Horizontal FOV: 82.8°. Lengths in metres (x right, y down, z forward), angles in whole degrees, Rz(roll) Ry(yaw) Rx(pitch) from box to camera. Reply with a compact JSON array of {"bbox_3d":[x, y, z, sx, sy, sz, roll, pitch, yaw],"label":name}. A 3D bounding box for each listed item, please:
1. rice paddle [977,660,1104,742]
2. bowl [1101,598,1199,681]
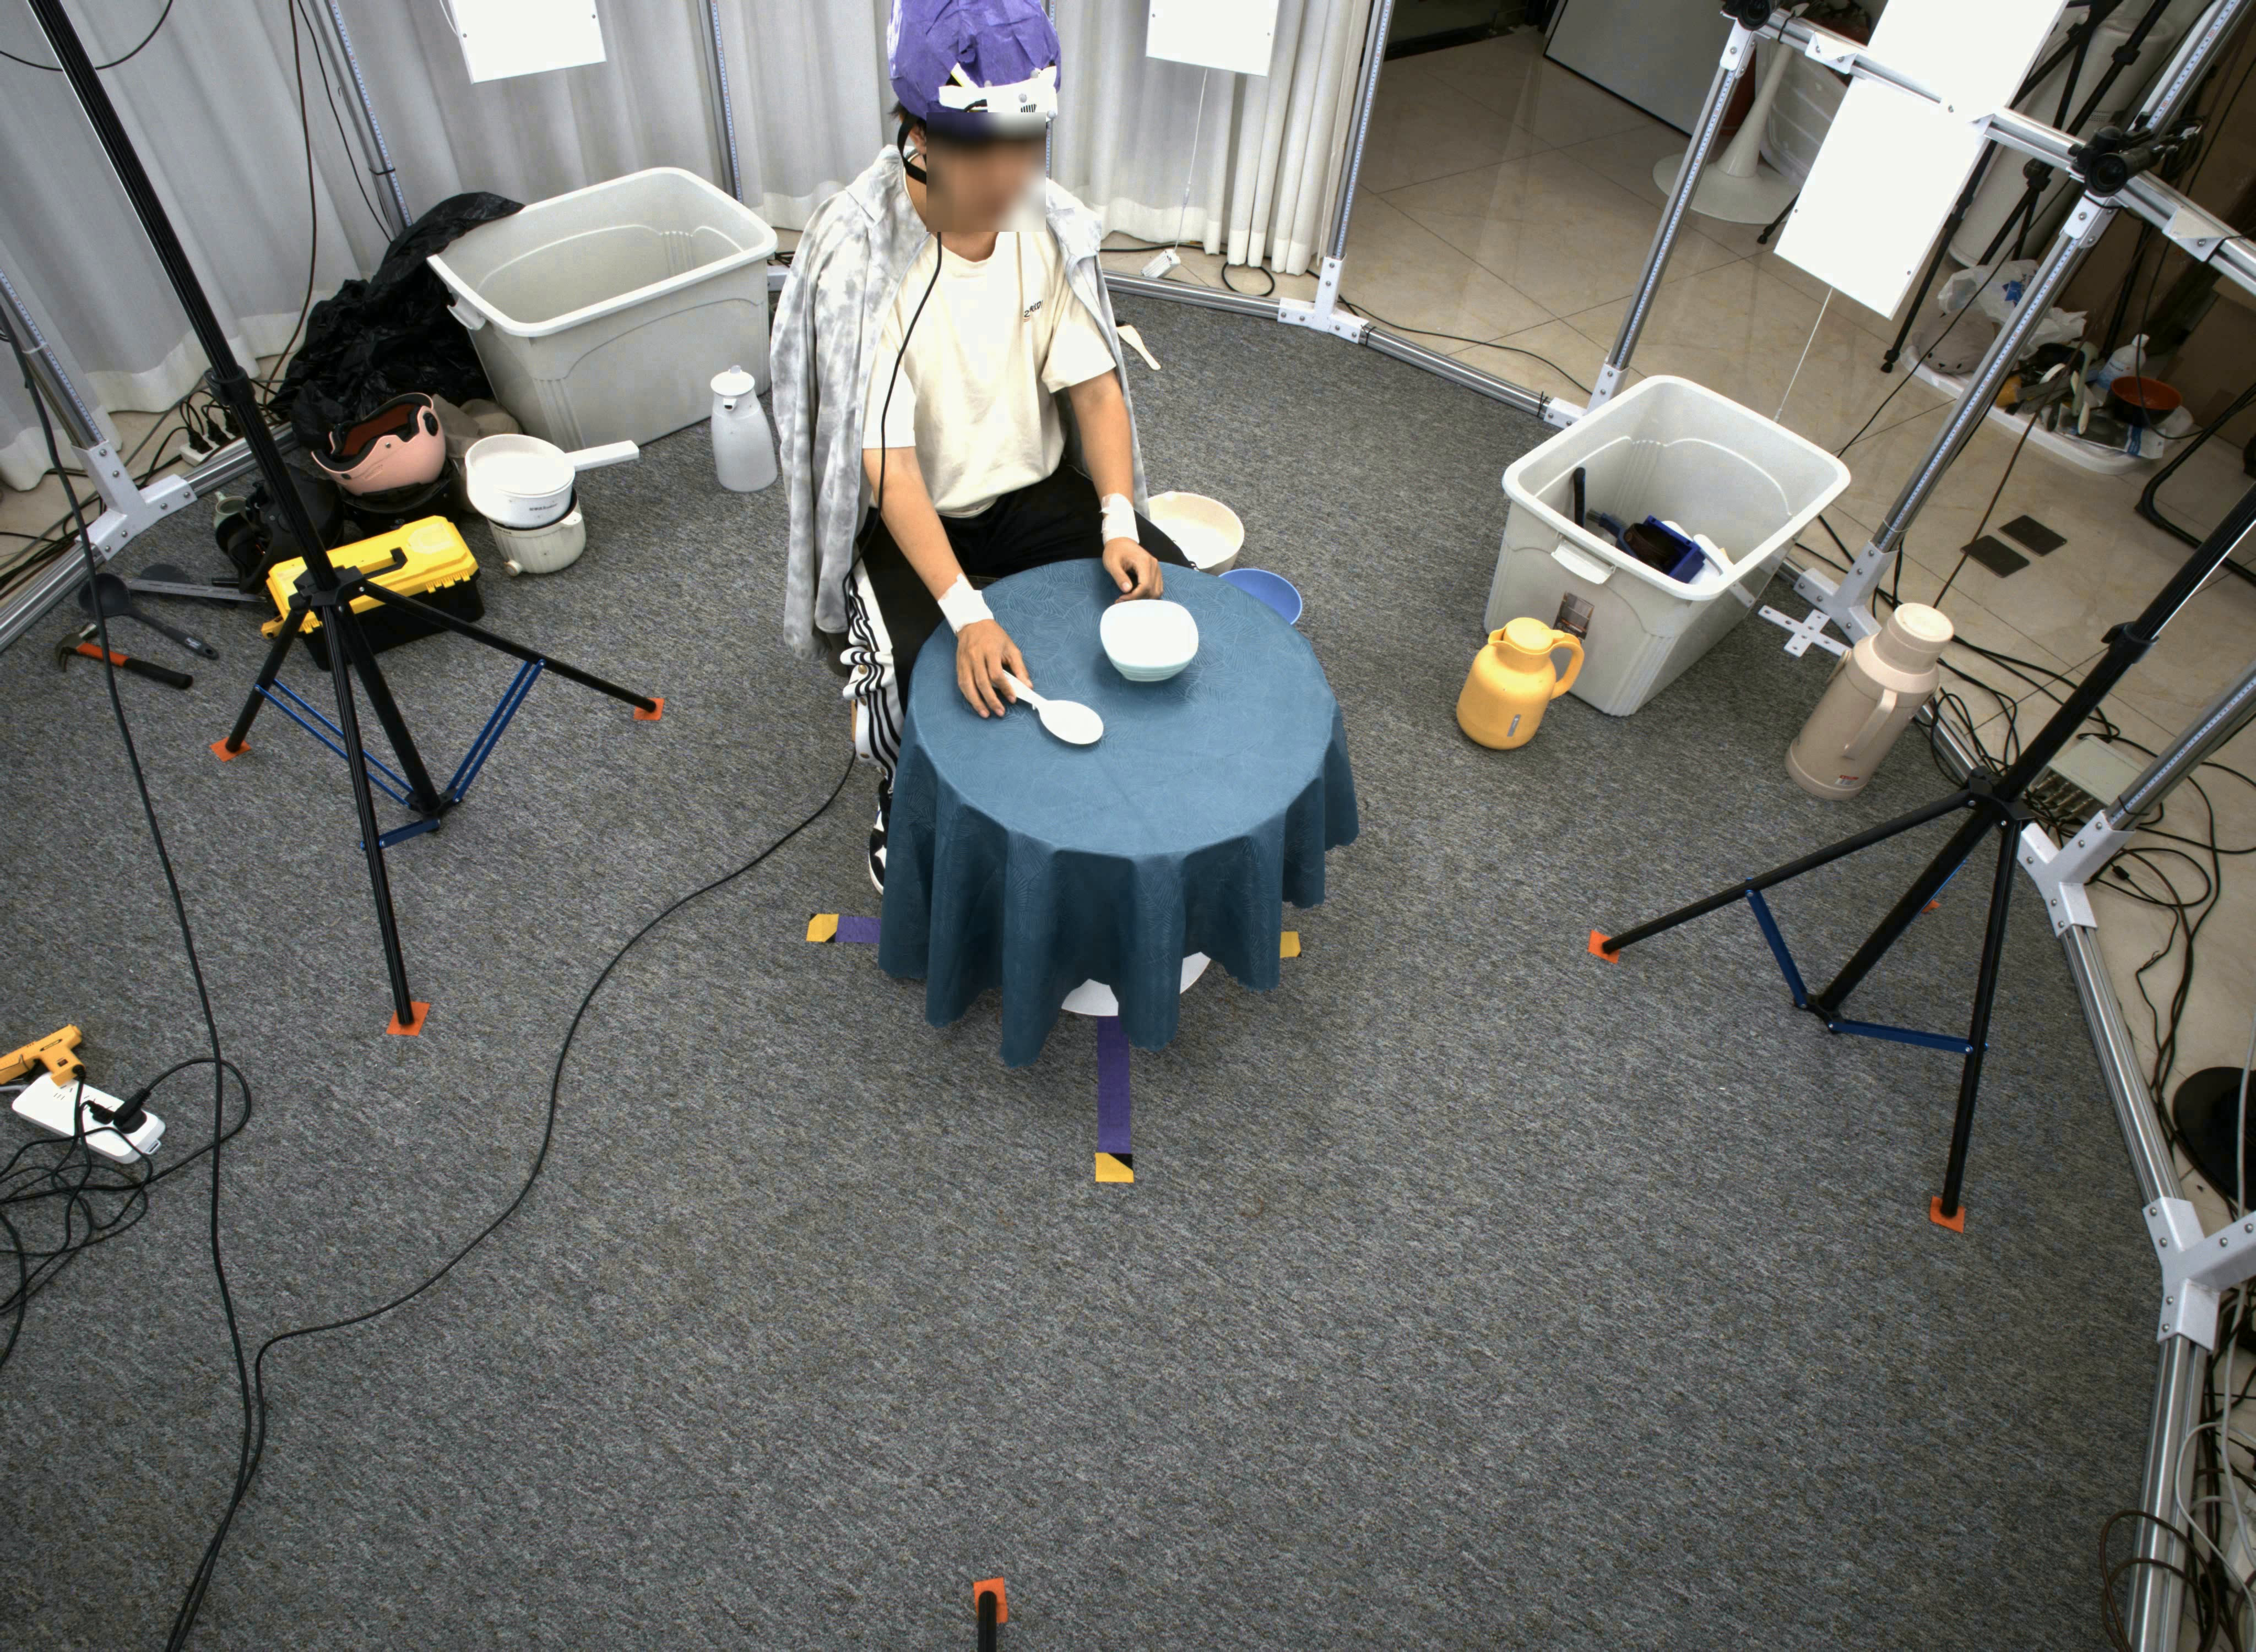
[{"bbox_3d":[-0.121,-0.174,1.784,0.207,0.029,0.069,31,55,22],"label":"rice paddle"},{"bbox_3d":[0.030,-0.260,1.852,0.151,0.057,0.155,1,51,-2],"label":"bowl"}]
